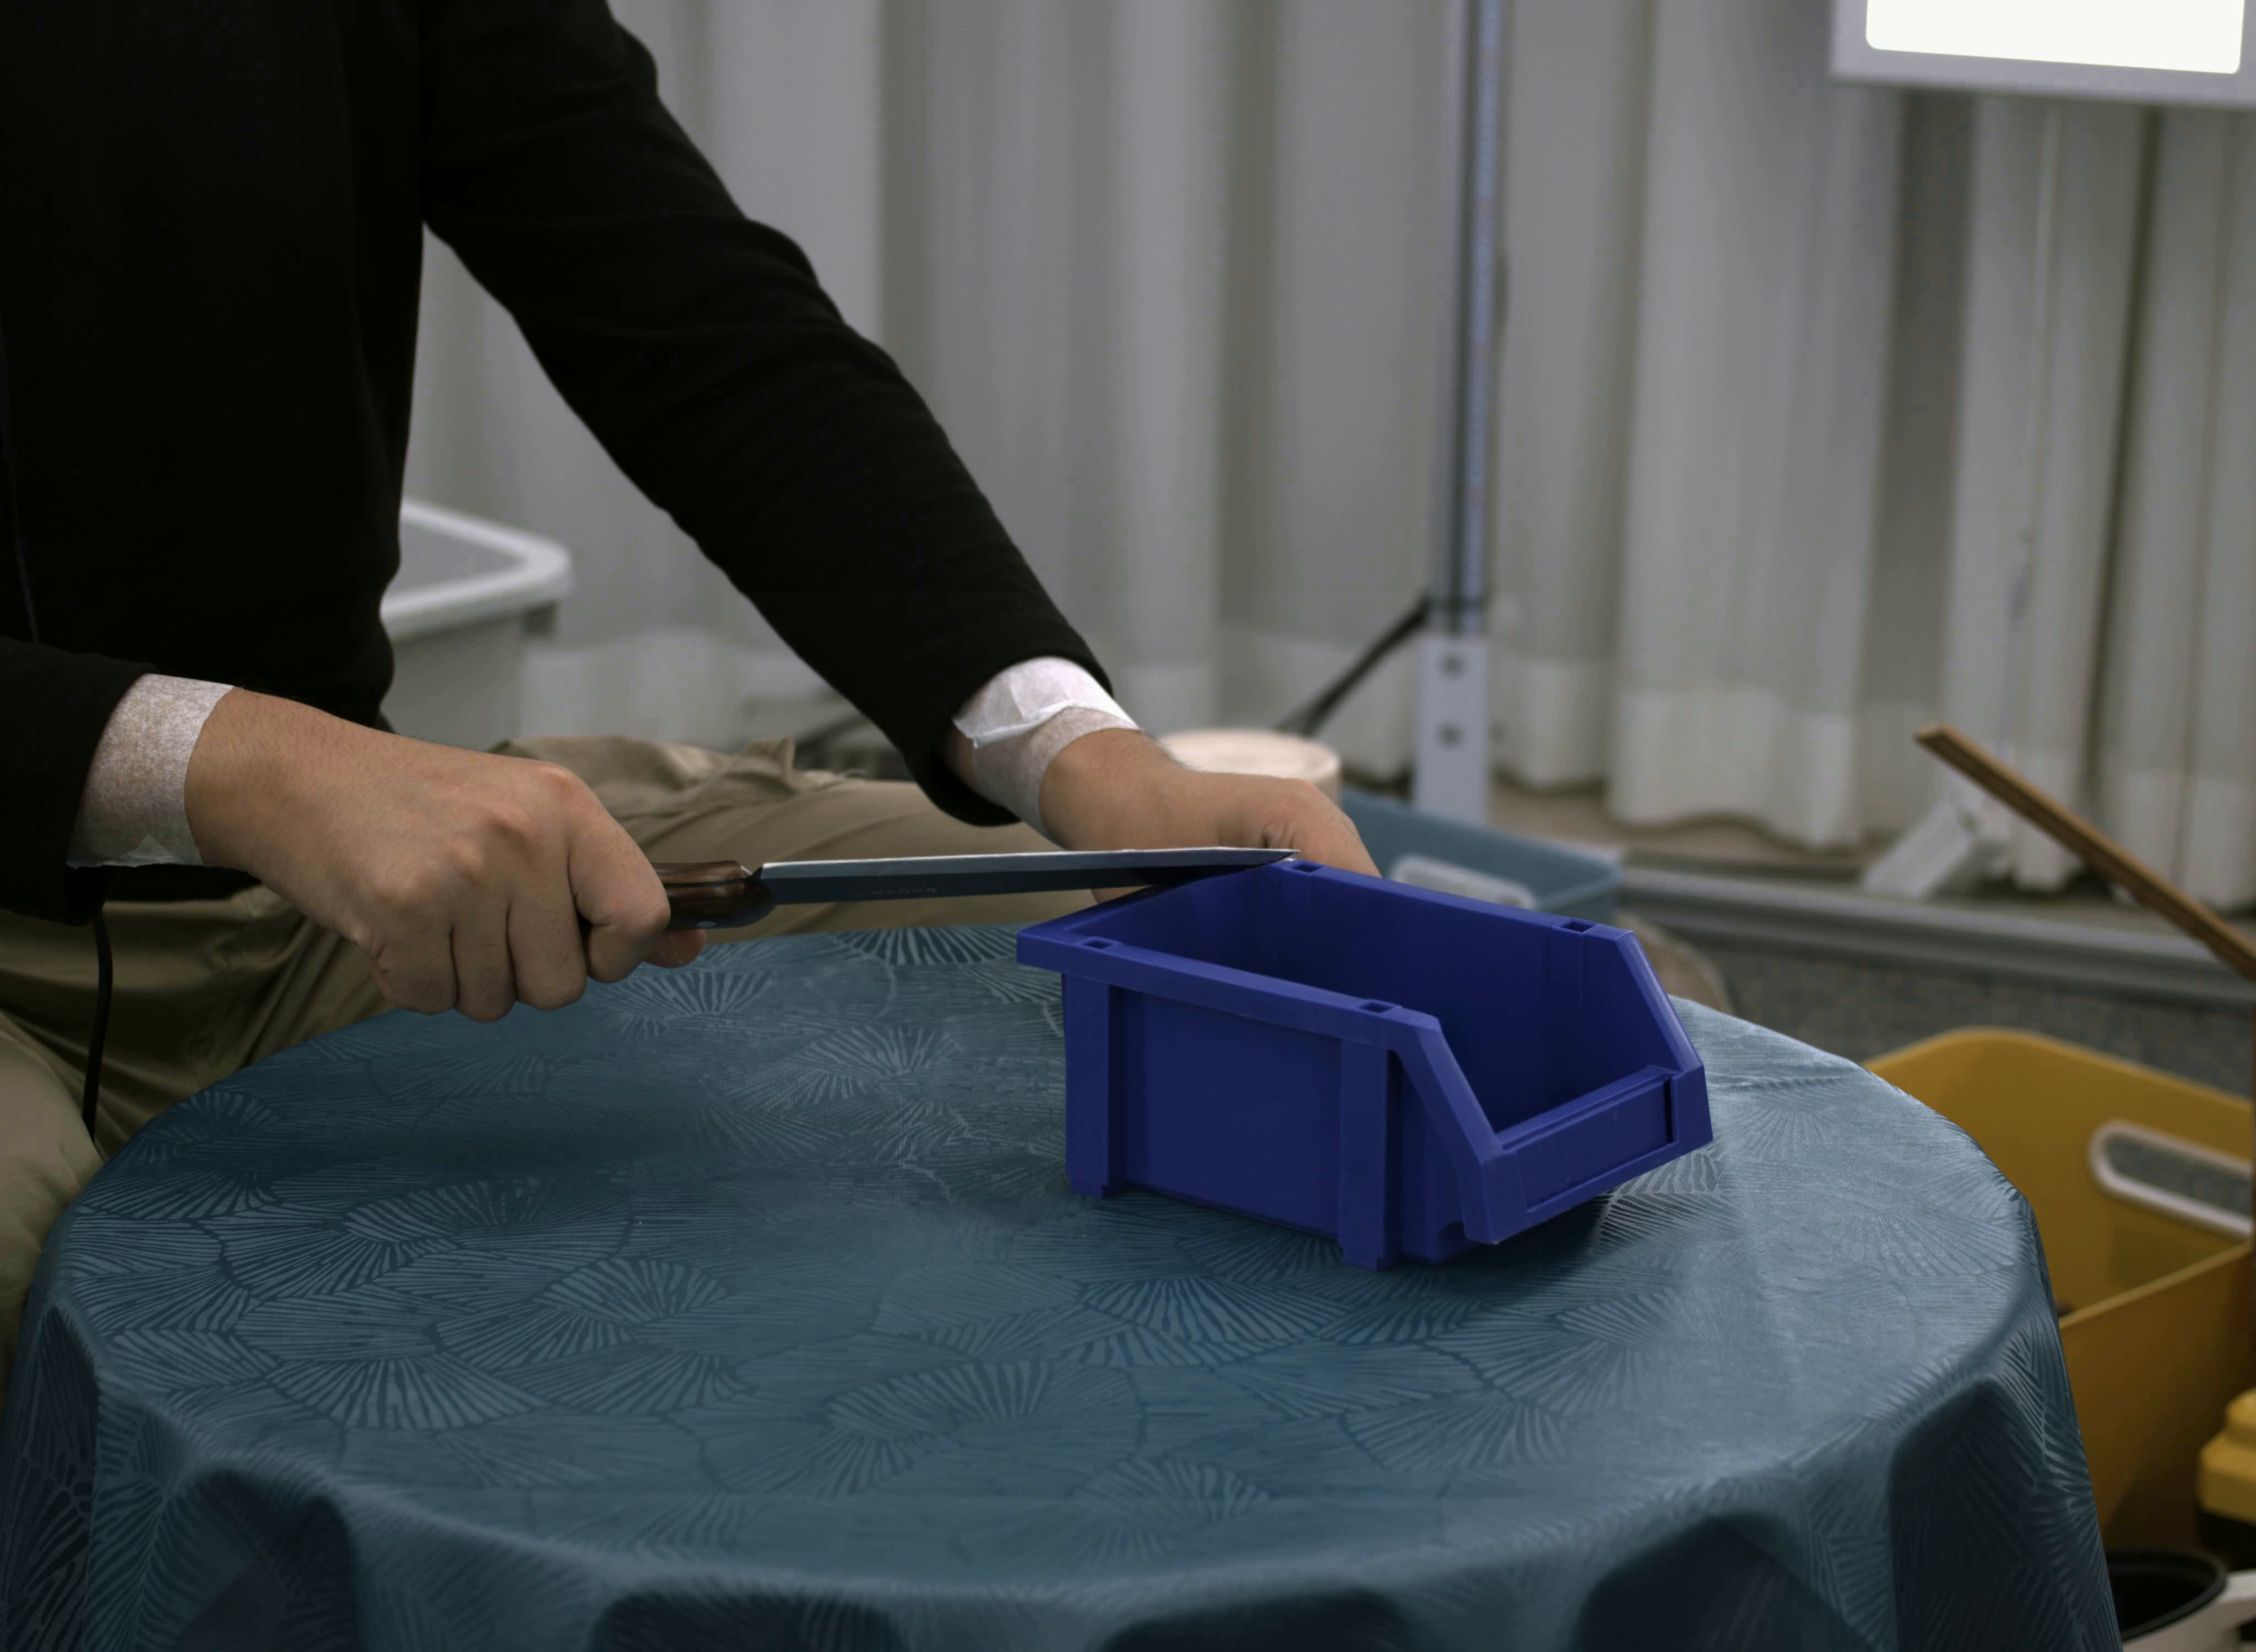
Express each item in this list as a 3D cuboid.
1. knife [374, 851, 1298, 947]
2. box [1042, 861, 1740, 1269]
[{"bbox_3d":[-0.091,0.019,1.634,0.288,0.020,0.050,-4,-15,-2],"label":"knife"},{"bbox_3d":[0.081,0.073,1.612,0.177,0.082,0.125,10,18,38],"label":"box"}]
